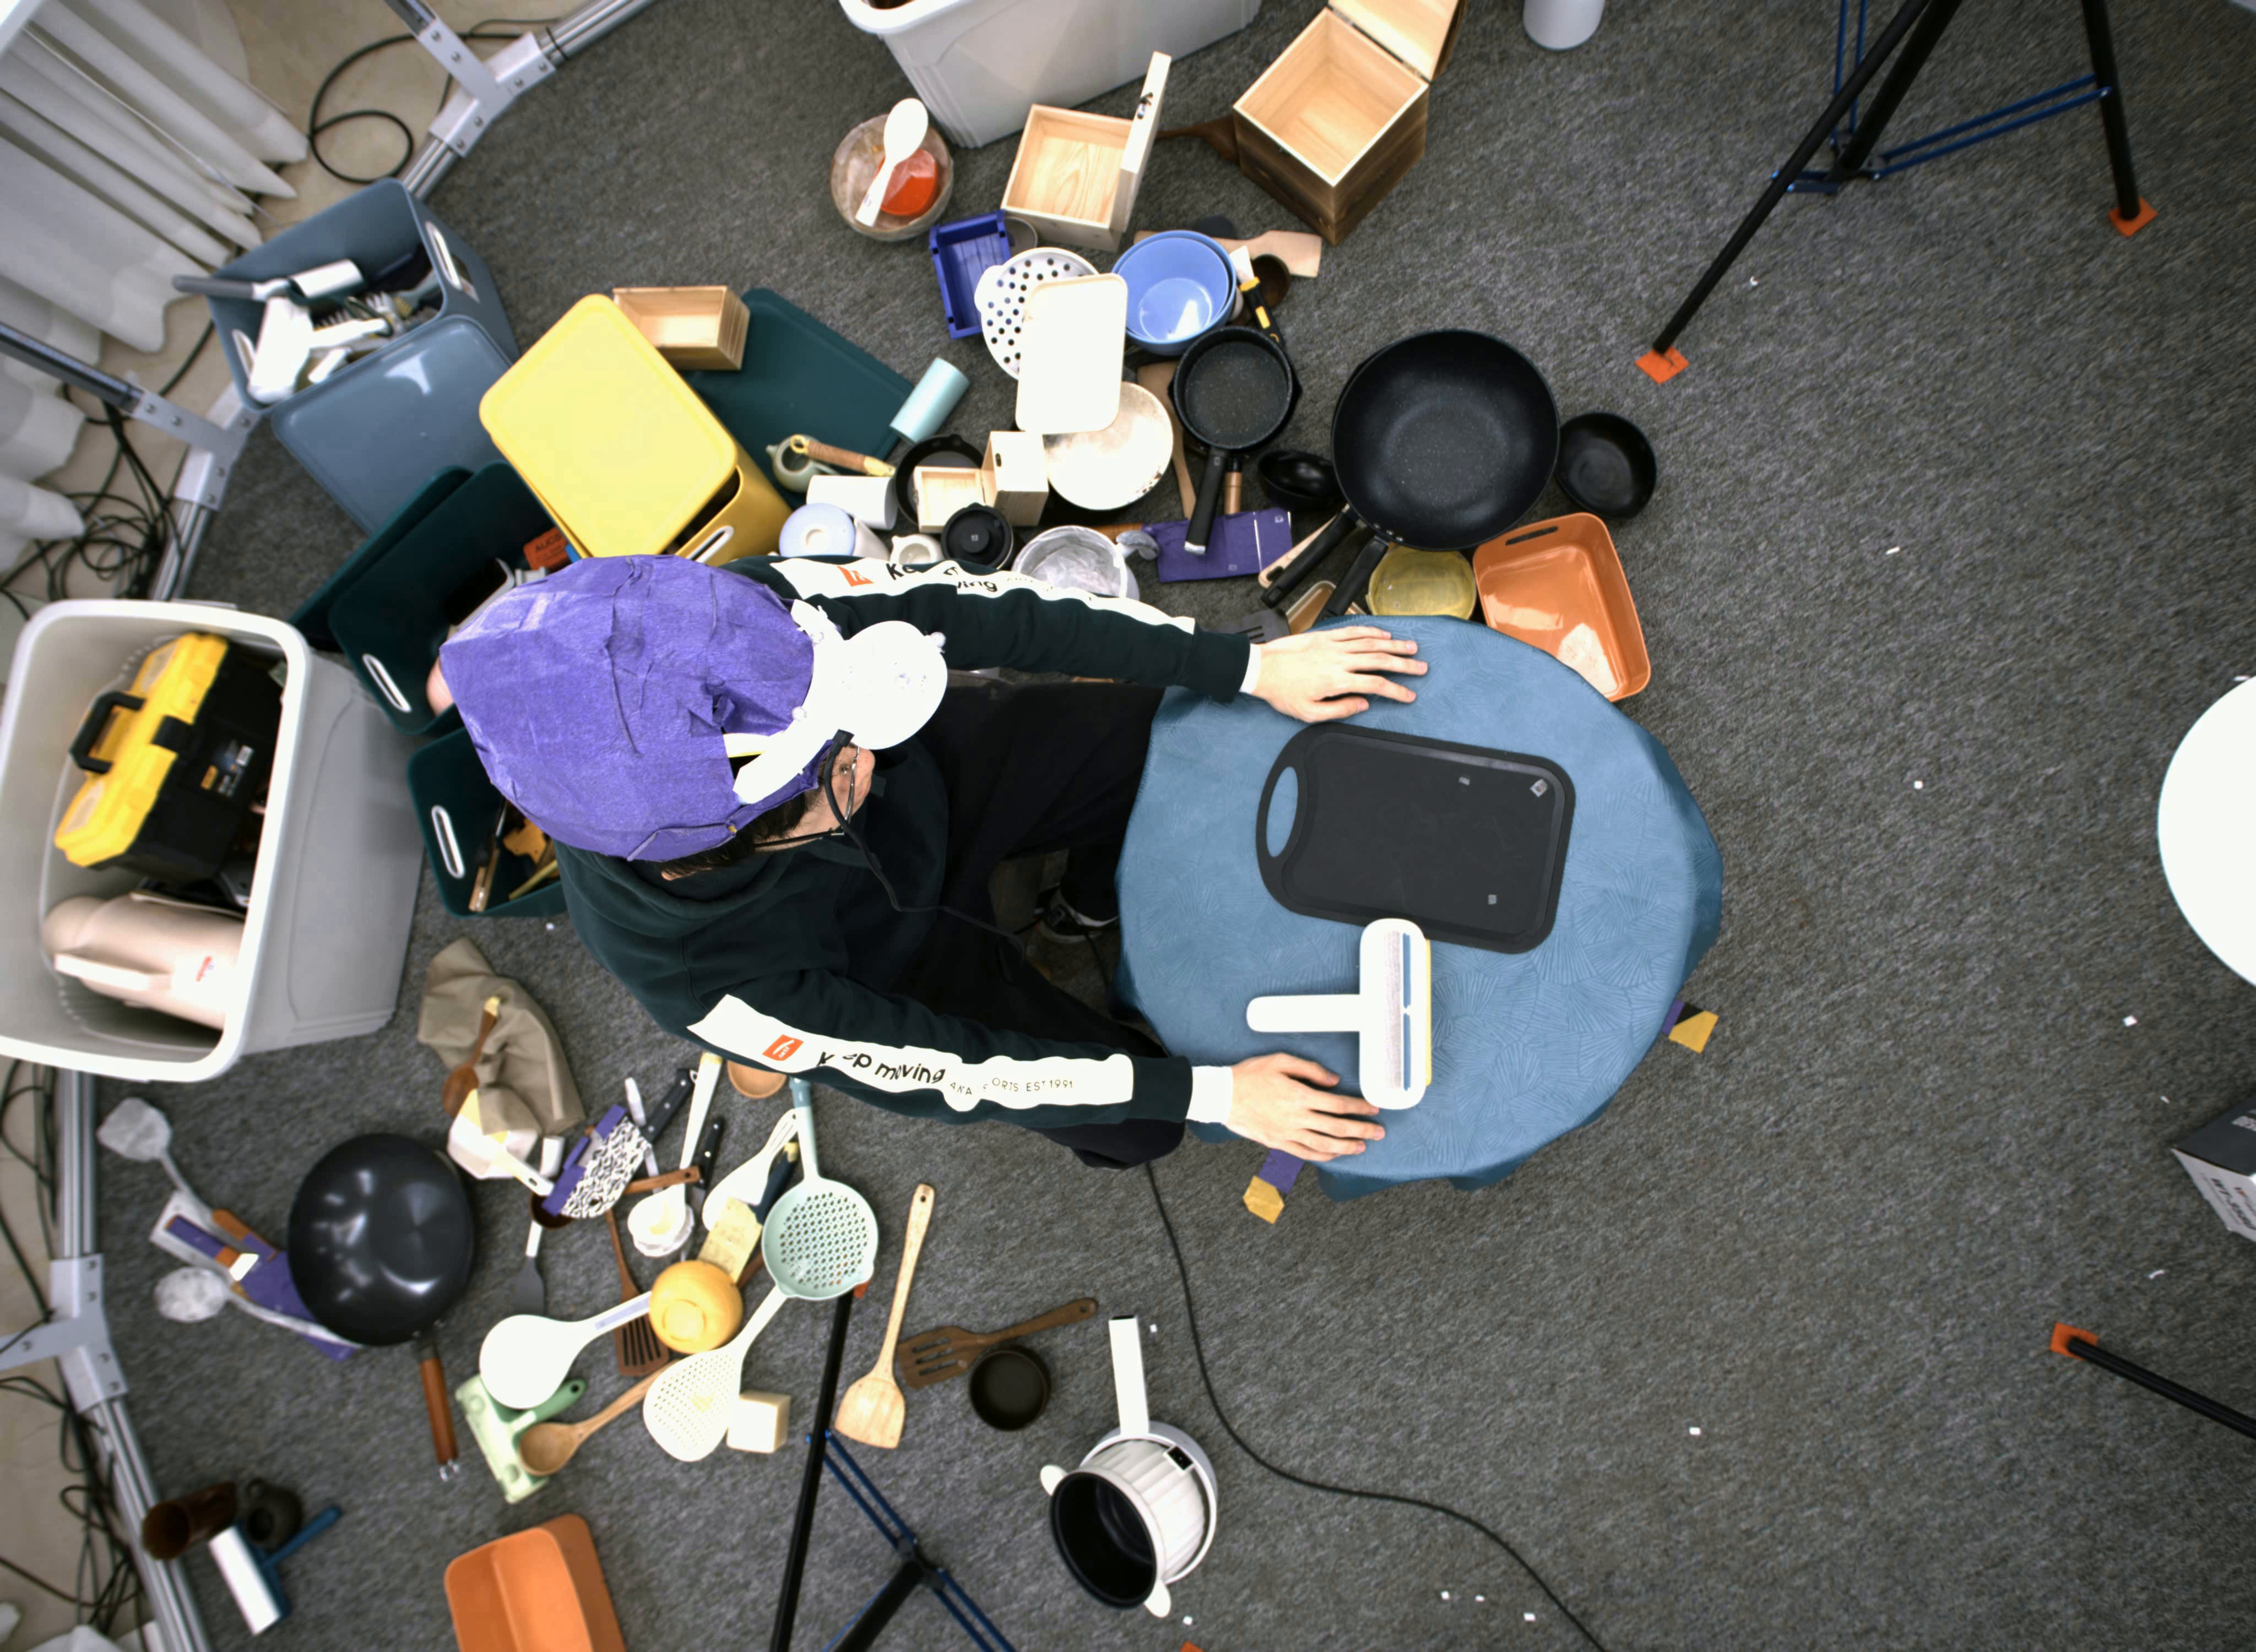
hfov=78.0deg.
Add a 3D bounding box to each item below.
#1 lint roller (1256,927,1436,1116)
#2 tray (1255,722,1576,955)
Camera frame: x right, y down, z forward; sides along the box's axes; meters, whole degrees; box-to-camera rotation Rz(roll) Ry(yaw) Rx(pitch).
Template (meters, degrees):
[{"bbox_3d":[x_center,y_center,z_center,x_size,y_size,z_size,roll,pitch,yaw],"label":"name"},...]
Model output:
[{"bbox_3d":[0.220,0.197,1.442,0.193,0.074,0.191,3,80,25],"label":"lint roller"},{"bbox_3d":[0.296,0.008,1.451,0.326,0.010,0.210,11,89,11],"label":"tray"}]
